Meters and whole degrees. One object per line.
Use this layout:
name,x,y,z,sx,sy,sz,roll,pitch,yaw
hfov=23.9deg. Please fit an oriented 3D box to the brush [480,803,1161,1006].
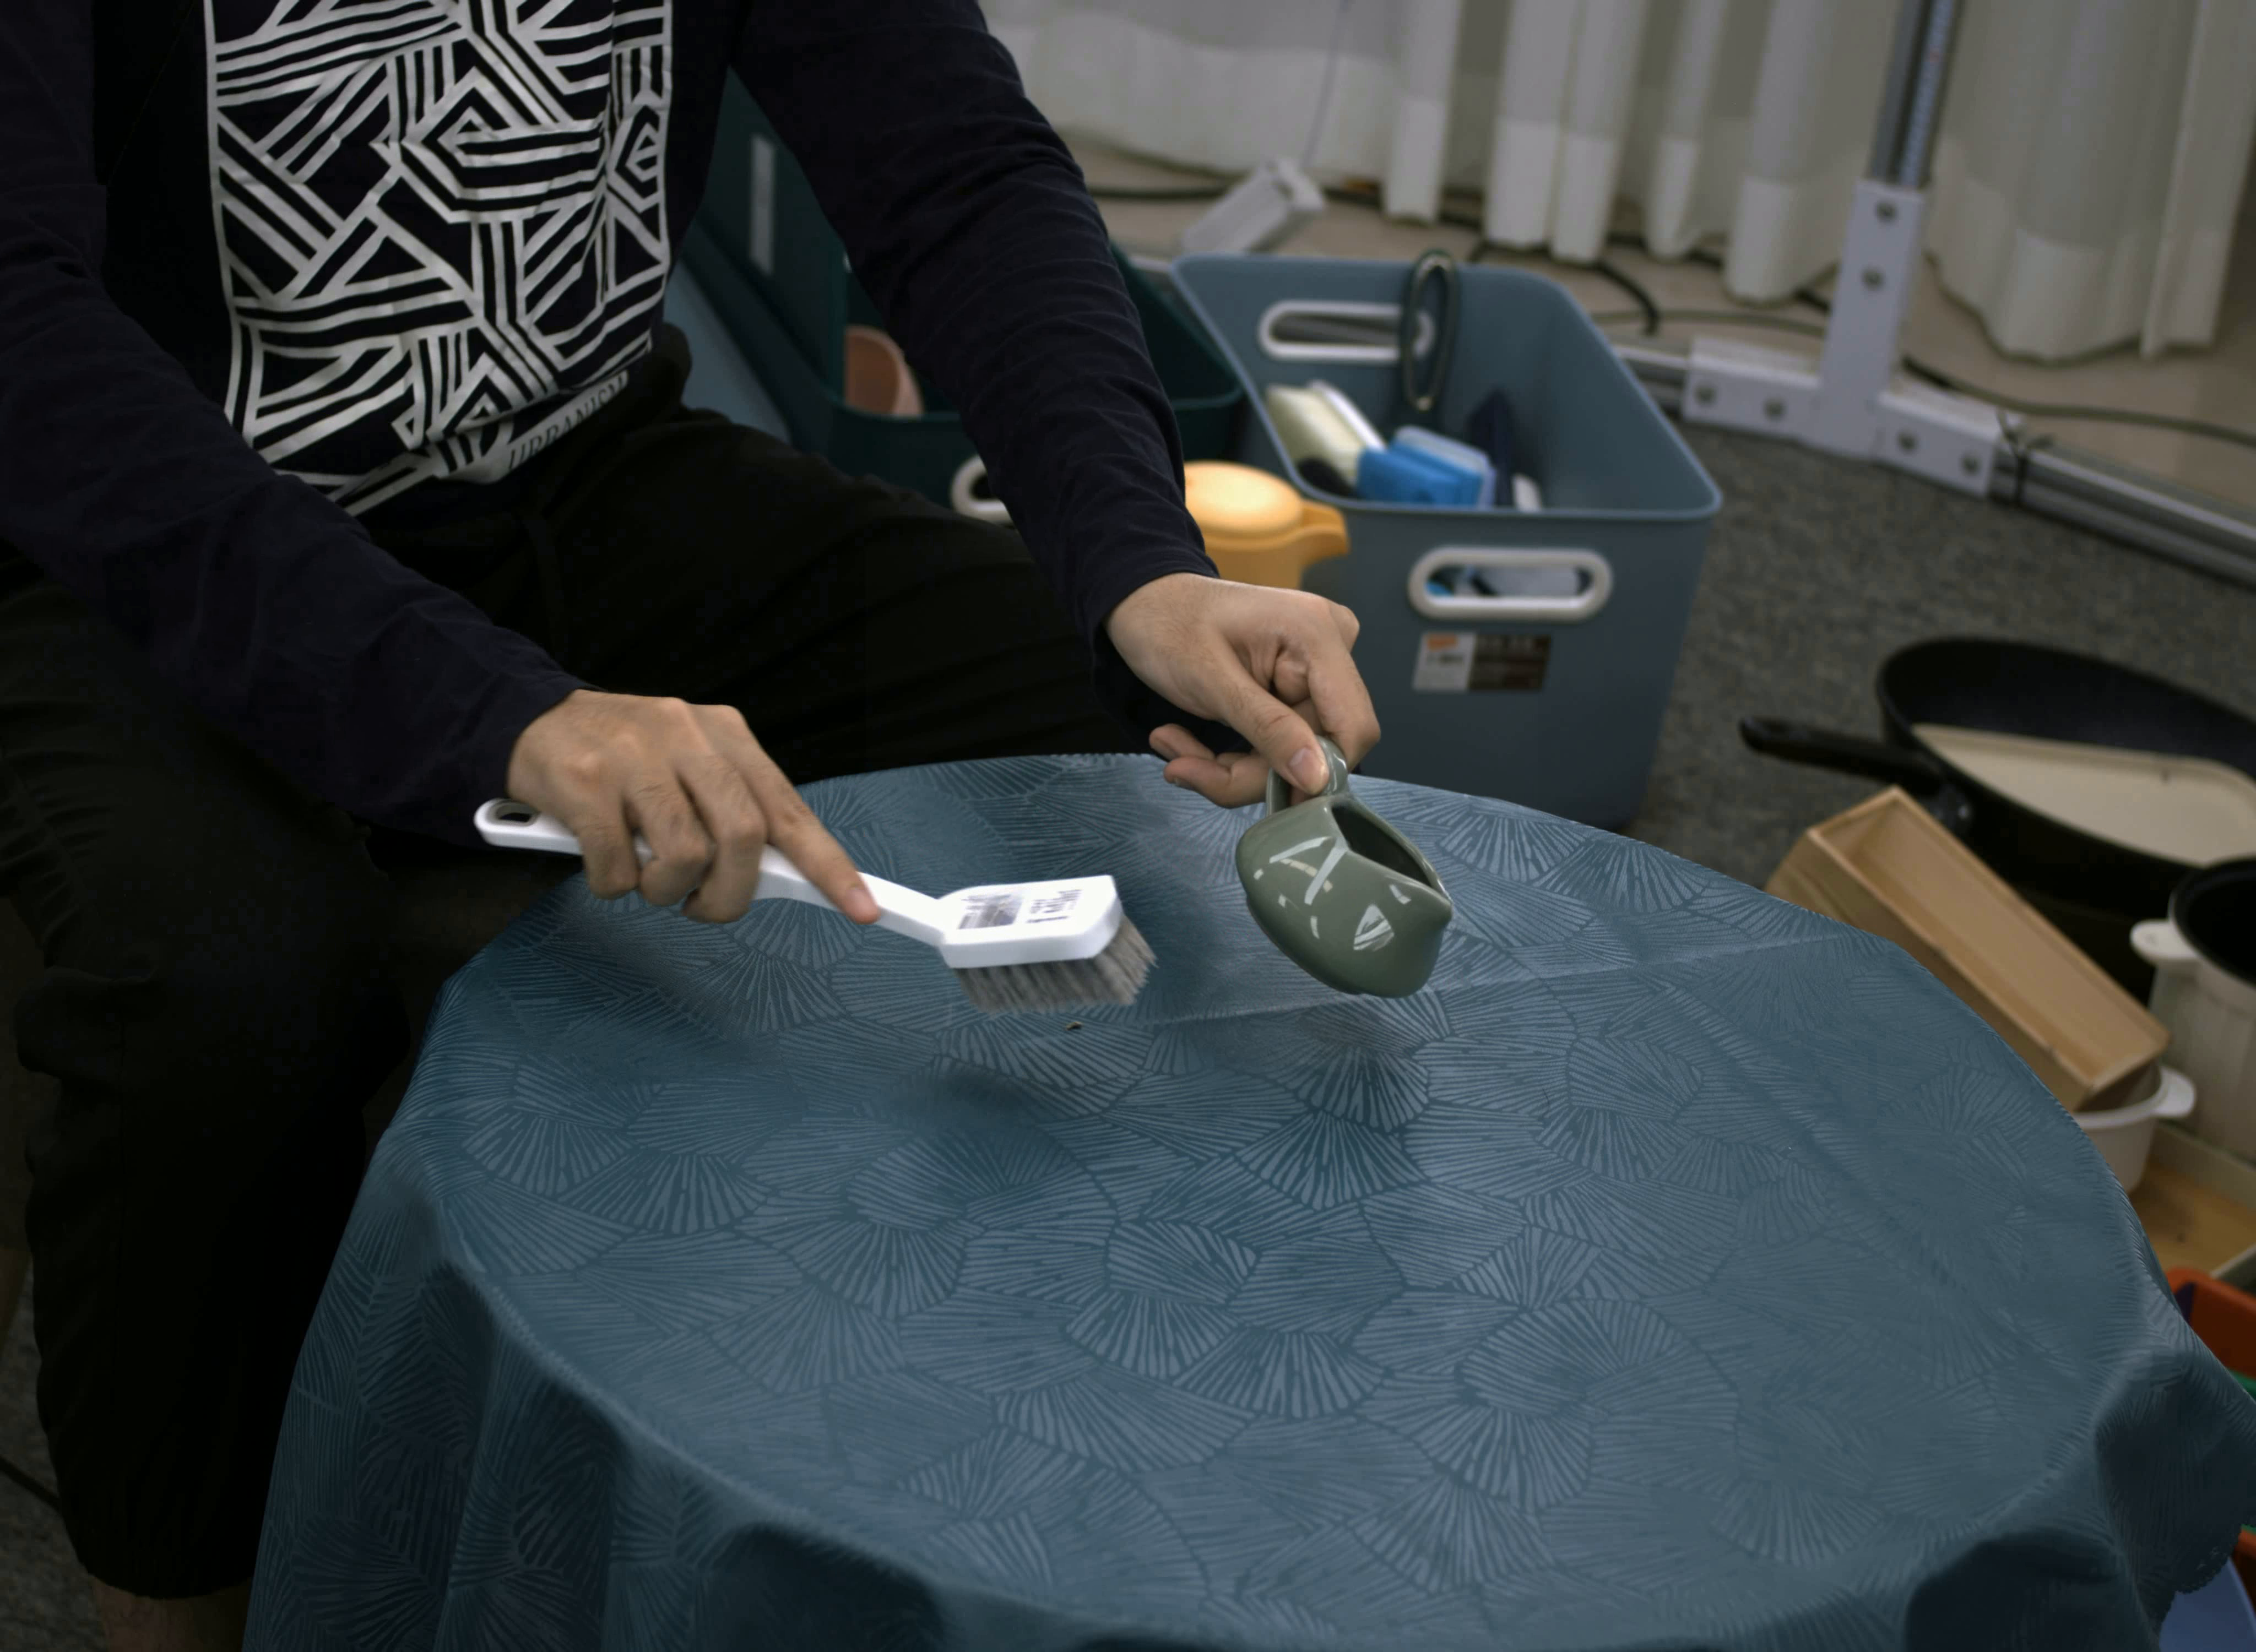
brush,-0.109,0.028,1.862,0.243,0.050,0.034,7,40,11

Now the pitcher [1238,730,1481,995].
pitcher,0.077,0.017,1.899,0.083,0.056,0.113,18,26,-50
